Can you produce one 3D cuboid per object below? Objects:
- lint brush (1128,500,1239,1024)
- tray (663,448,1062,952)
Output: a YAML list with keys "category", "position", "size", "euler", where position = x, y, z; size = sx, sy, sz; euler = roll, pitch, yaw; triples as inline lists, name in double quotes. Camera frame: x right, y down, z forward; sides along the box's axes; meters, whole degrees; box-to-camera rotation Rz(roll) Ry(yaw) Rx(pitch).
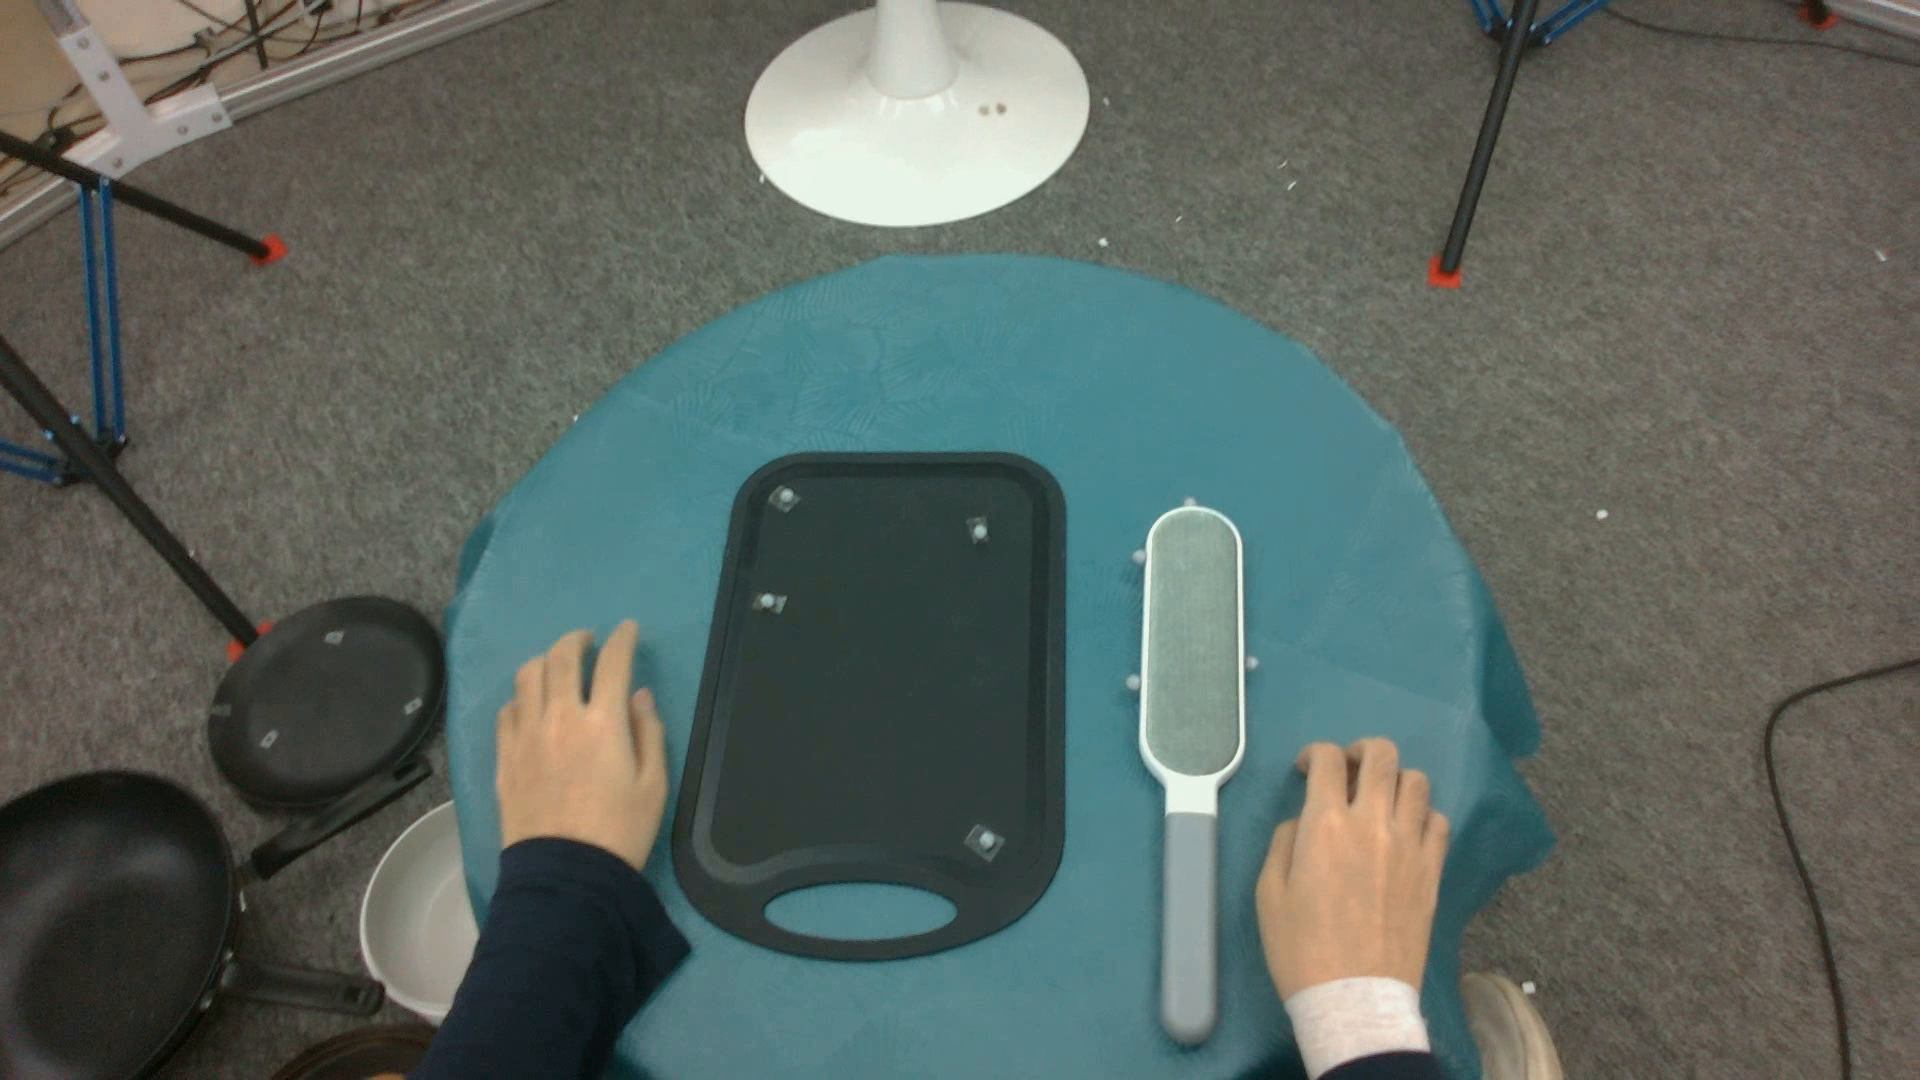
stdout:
- category: "lint brush"
  position: [0.120, 0.103, 0.741]
  size: [0.060, 0.021, 0.310]
  euler: [6, 54, 1]
- category: "tray"
  position: [-0.048, 0.073, 0.784]
  size: [0.211, 0.010, 0.327]
  euler: [1, 54, 4]
